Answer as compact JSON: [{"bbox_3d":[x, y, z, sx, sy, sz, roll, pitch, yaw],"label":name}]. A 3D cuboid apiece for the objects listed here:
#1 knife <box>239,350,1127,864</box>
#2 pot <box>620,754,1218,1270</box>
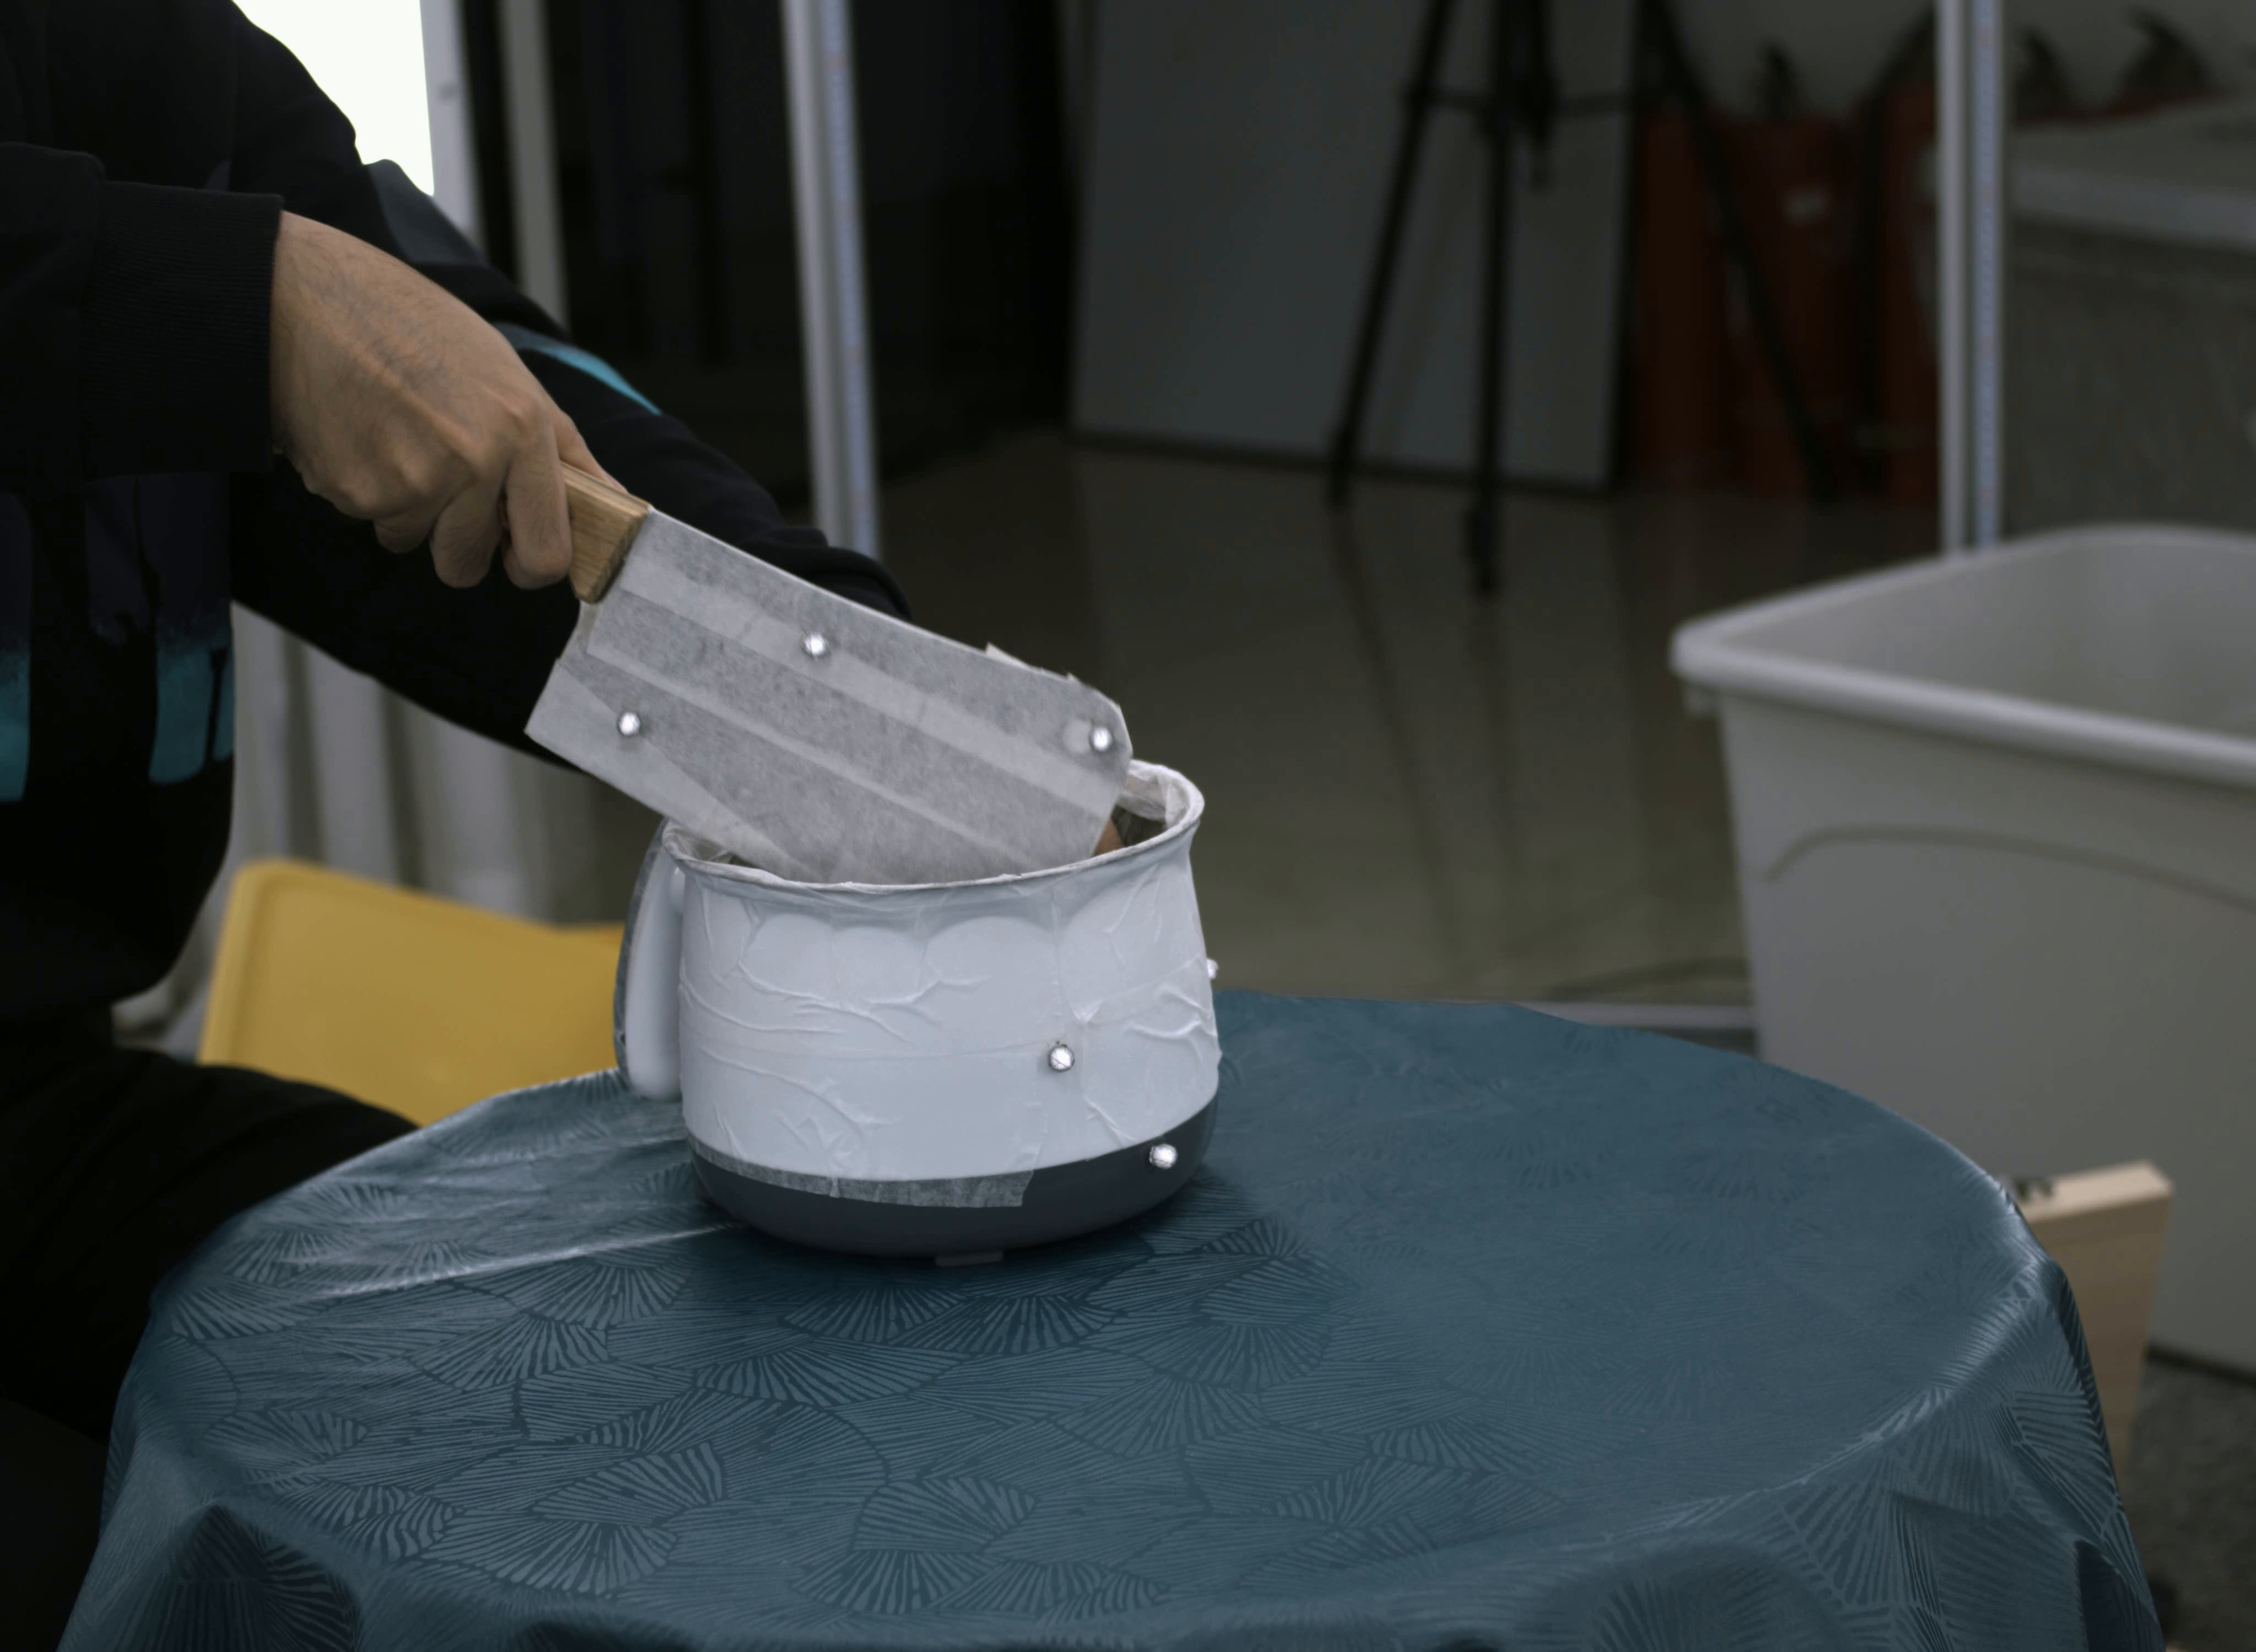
[{"bbox_3d":[-0.142,-0.062,1.713,0.314,0.115,0.021,30,12,3],"label":"knife"},{"bbox_3d":[-0.080,0.054,1.777,0.235,0.138,0.175,9,18,39],"label":"pot"}]
